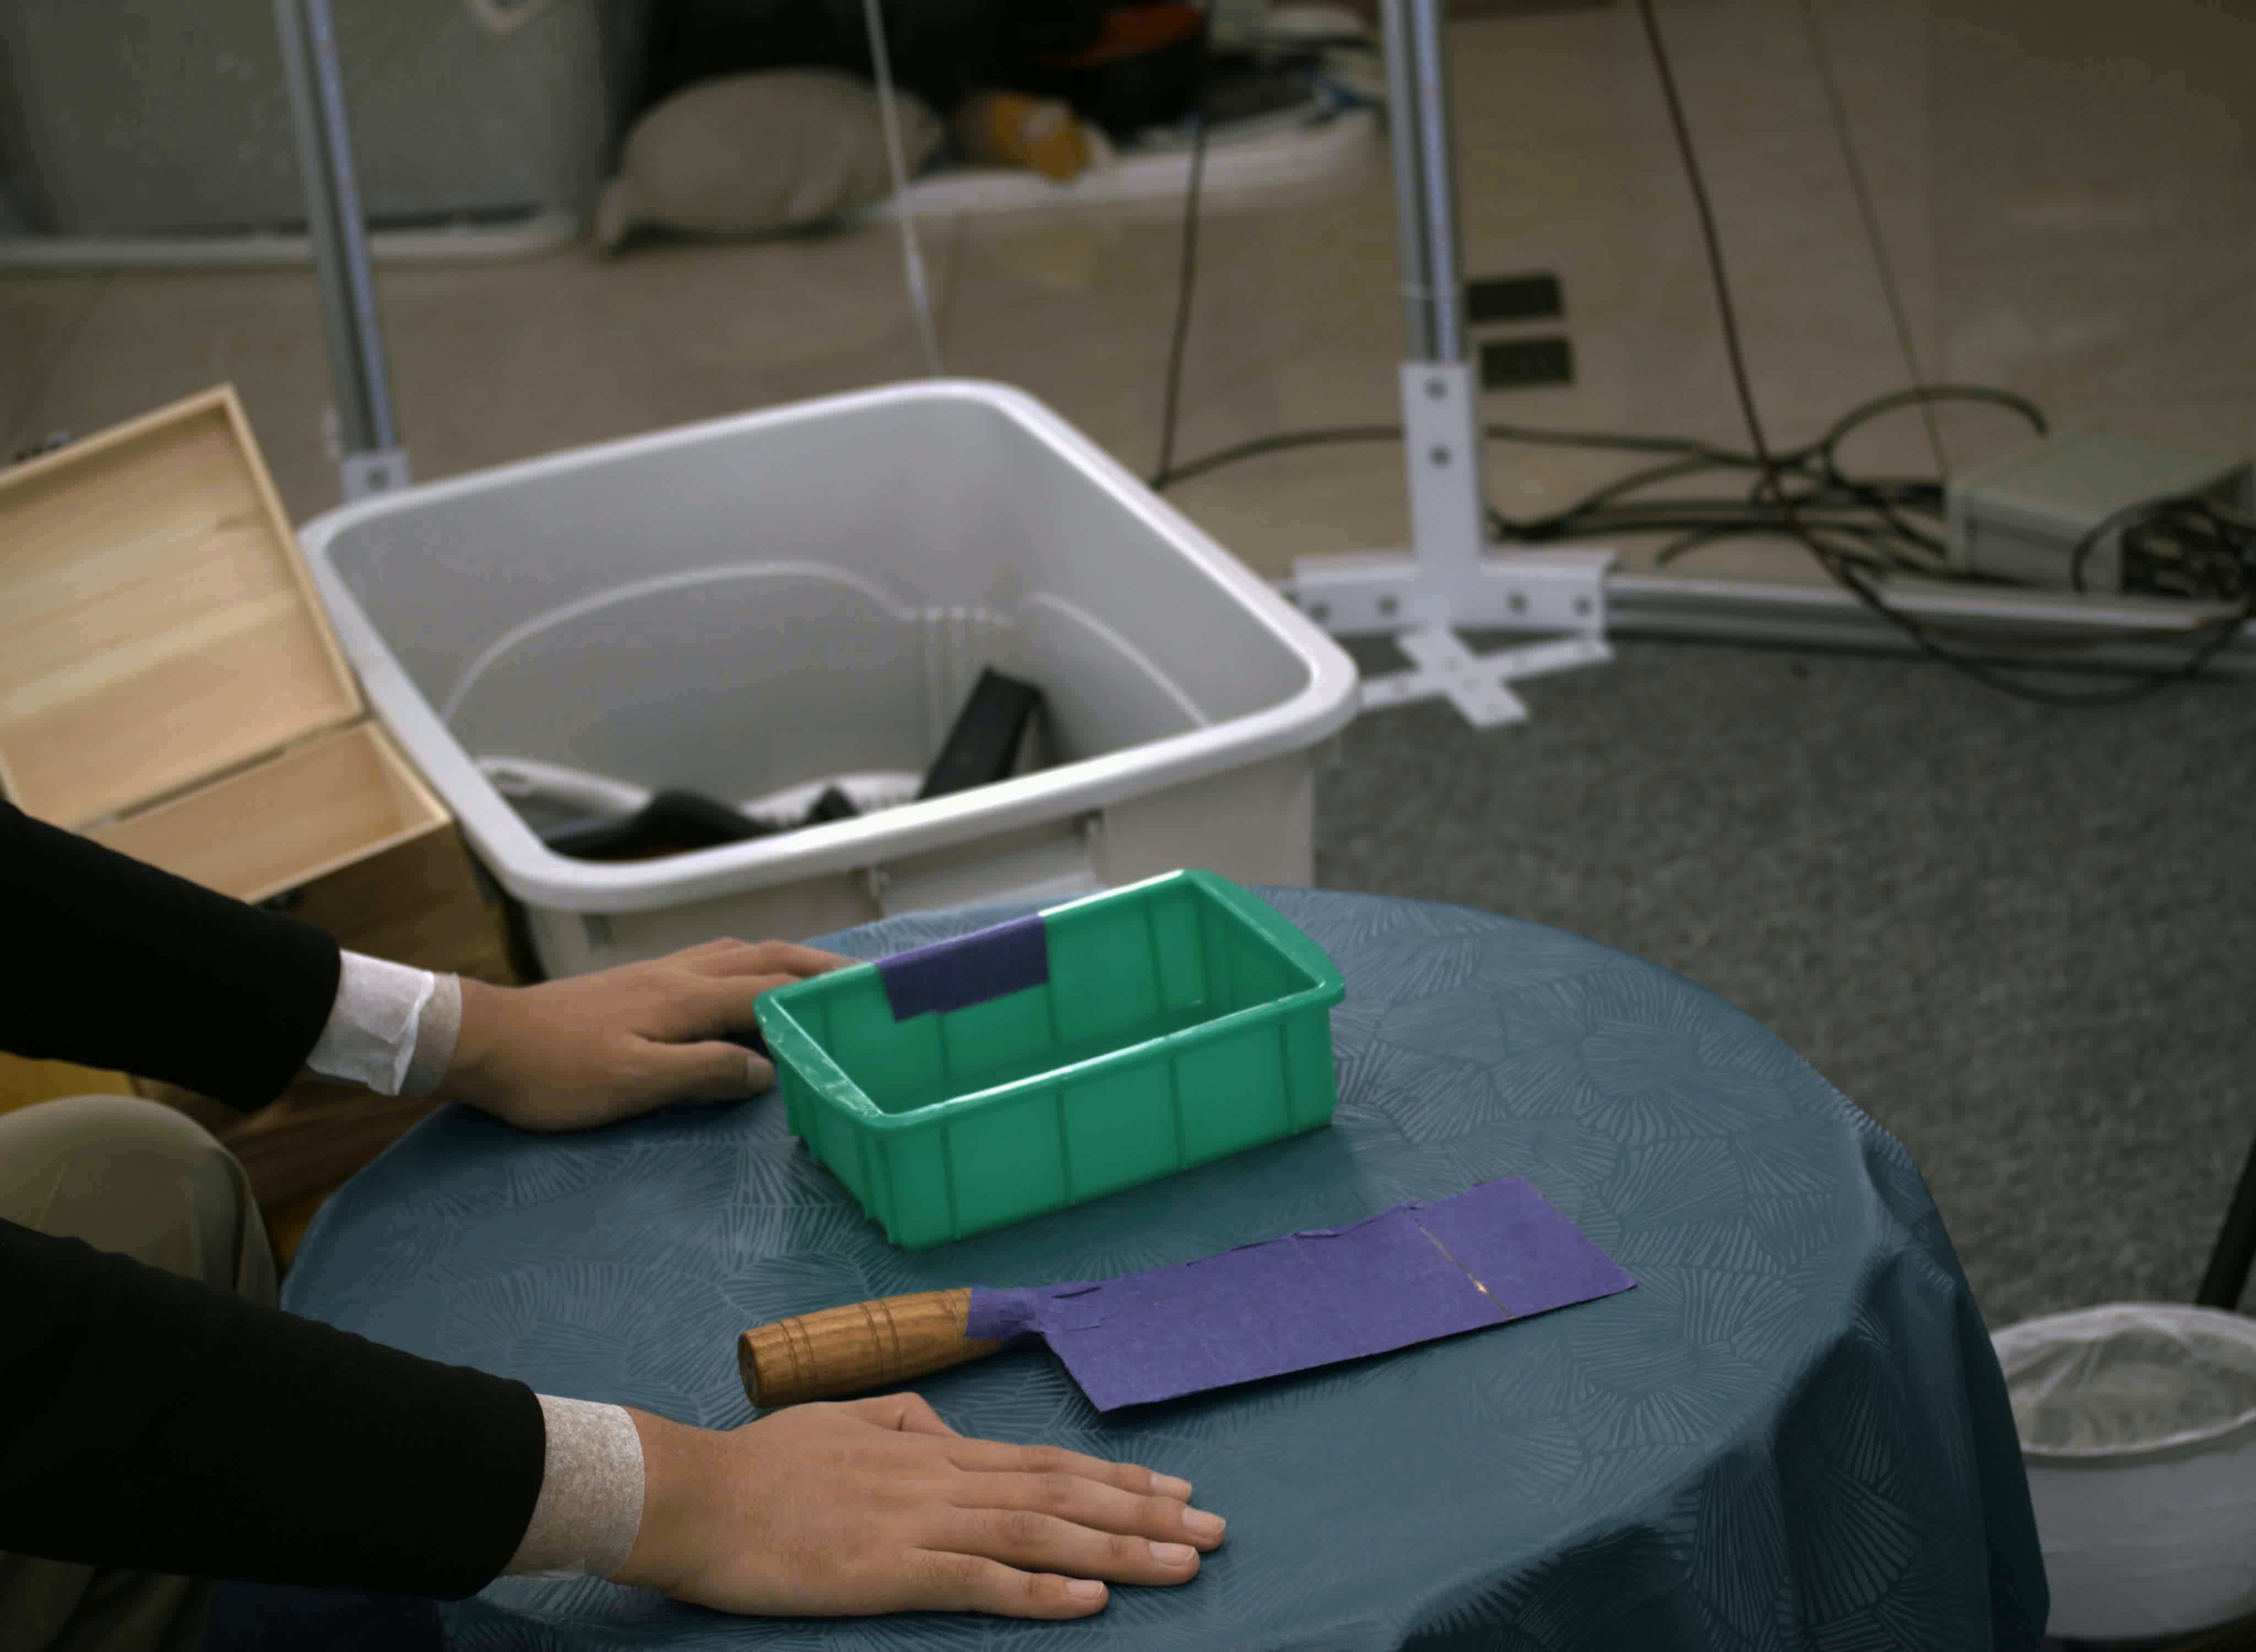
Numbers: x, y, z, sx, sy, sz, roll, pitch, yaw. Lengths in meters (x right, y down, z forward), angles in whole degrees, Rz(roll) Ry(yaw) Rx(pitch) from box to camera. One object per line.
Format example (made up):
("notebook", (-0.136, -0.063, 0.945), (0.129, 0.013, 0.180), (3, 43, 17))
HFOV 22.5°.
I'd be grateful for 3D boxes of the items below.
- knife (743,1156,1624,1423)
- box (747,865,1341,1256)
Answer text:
("knife", (0.022, 0.174, 2.036), (0.314, 0.033, 0.102), (-14, 26, -17))
("box", (-0.030, 0.091, 2.184), (0.209, 0.066, 0.137), (-18, 26, -19))
